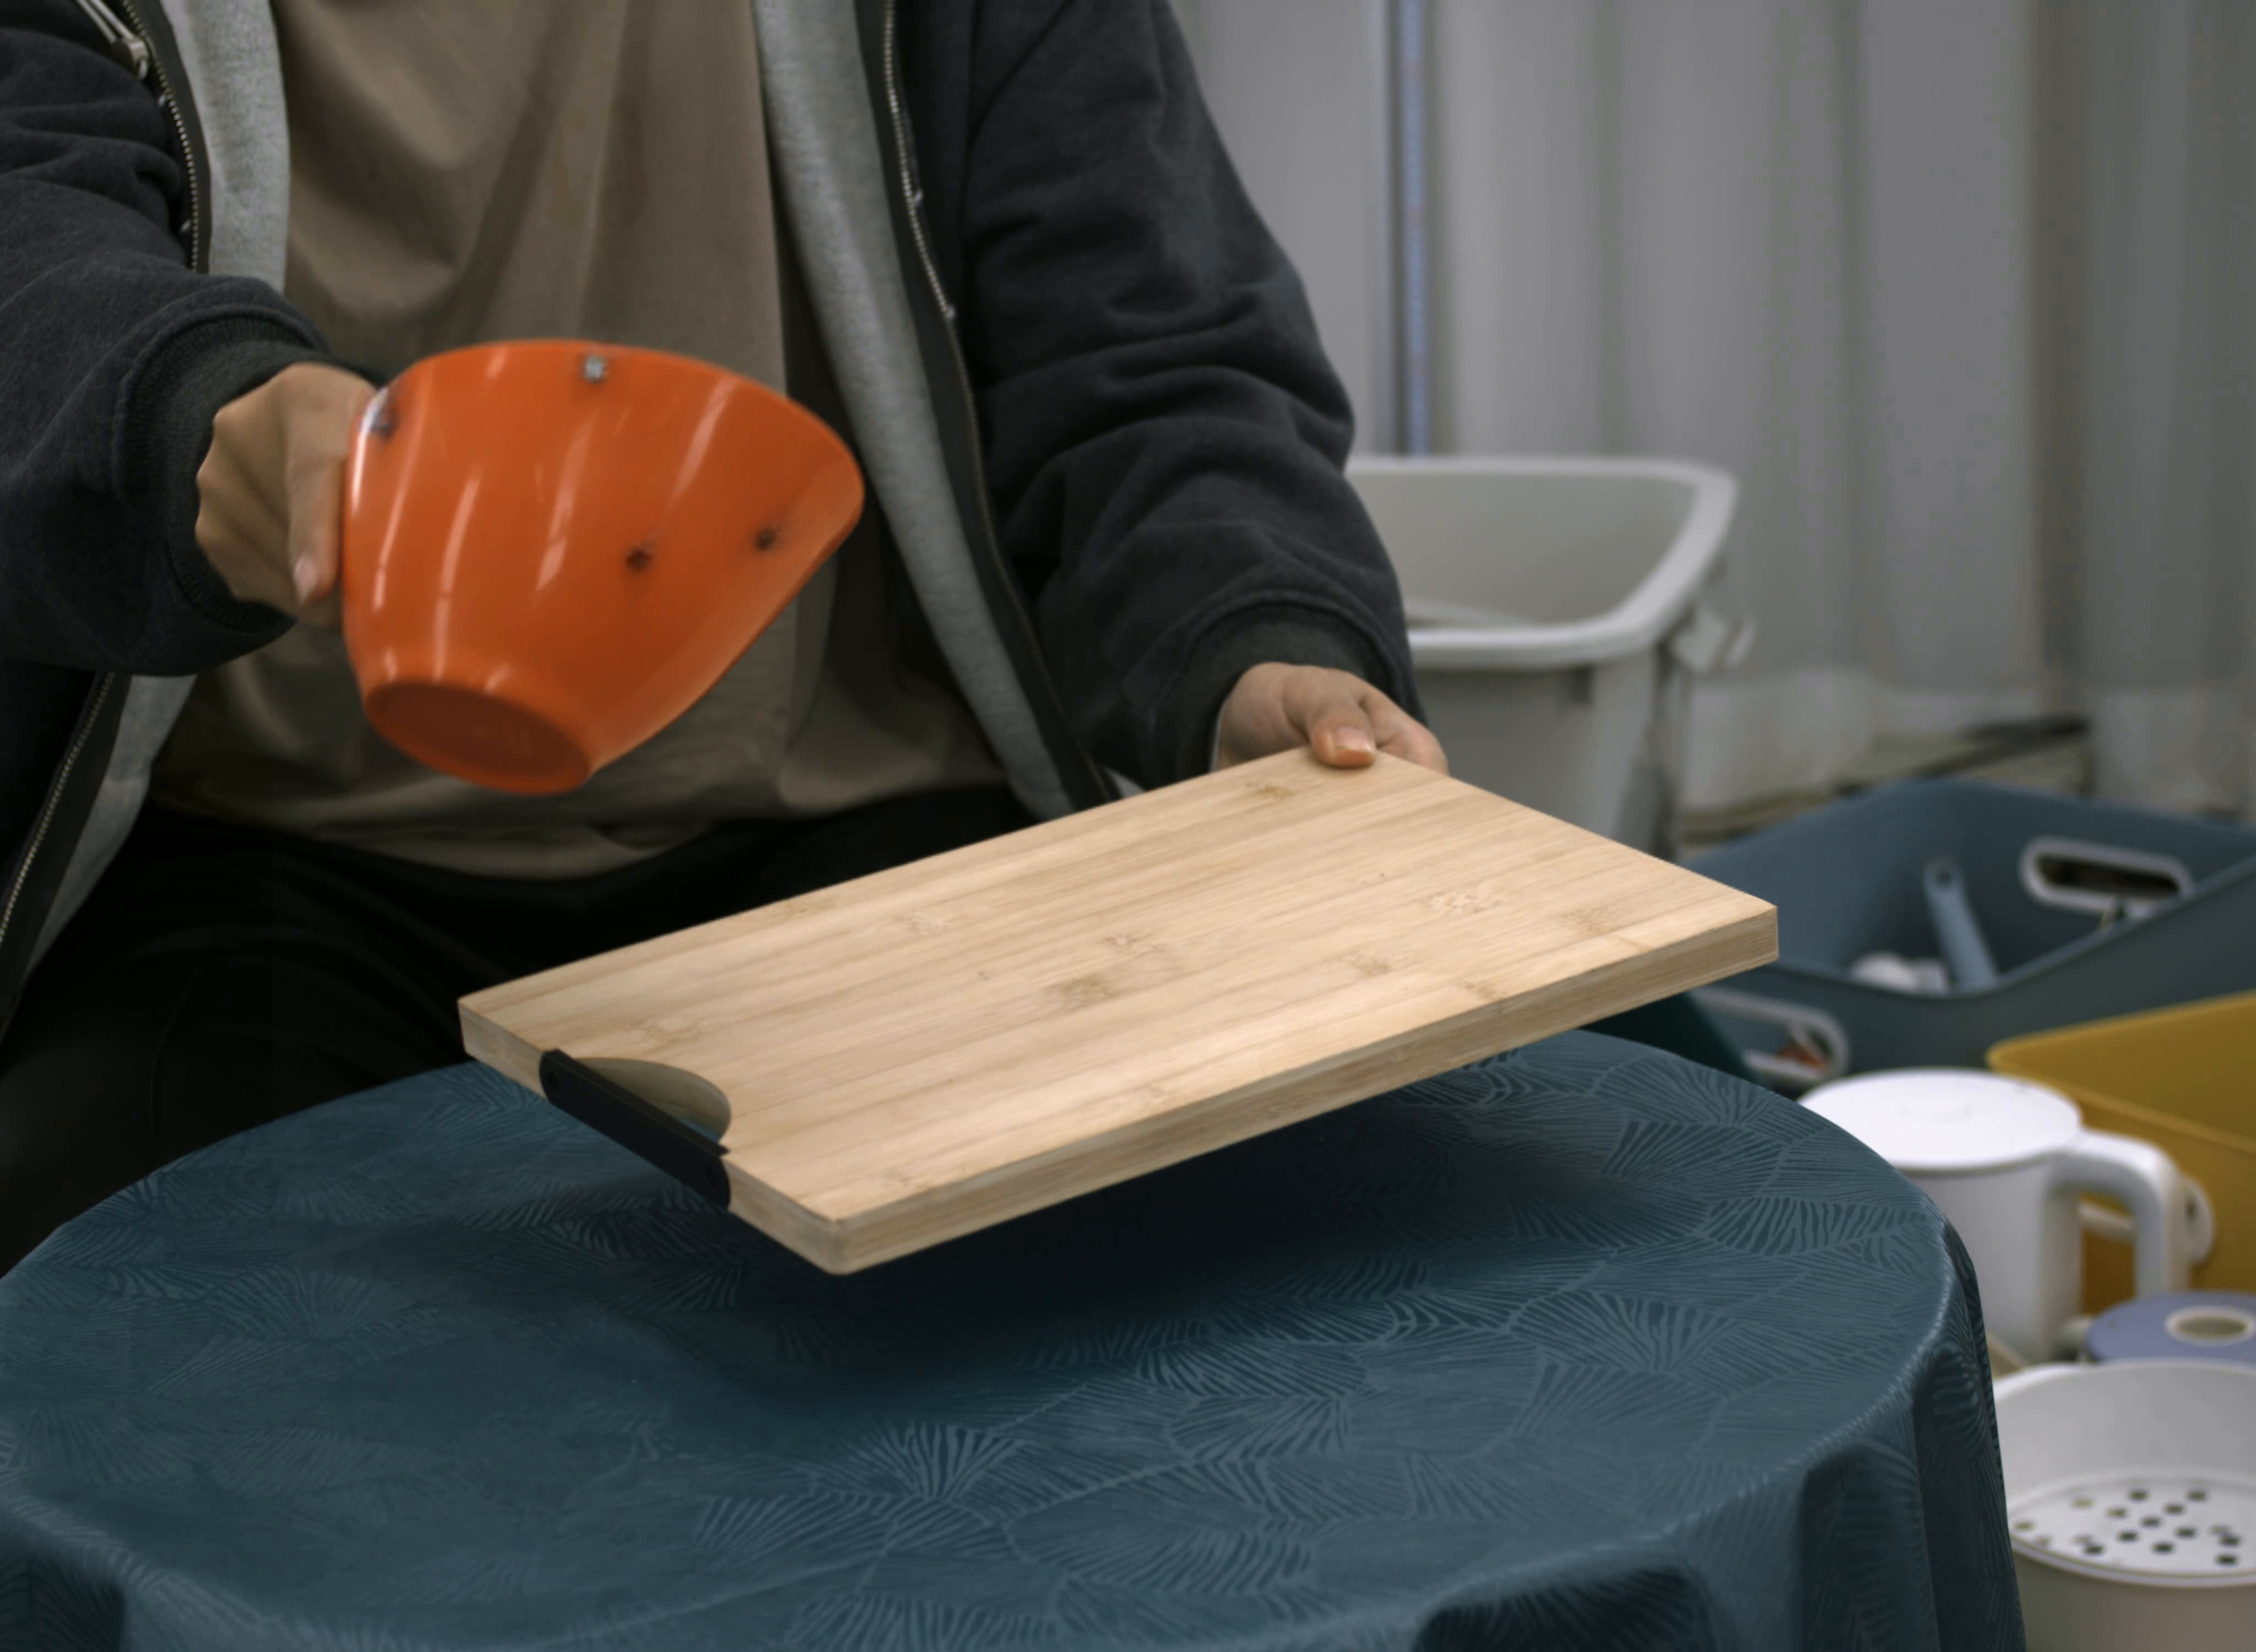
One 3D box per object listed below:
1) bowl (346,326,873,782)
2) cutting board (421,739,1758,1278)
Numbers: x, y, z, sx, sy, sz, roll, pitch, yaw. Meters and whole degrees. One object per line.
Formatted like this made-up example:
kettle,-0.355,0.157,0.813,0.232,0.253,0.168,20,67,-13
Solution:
bowl,-0.158,-0.071,1.561,0.148,0.106,0.146,14,-25,6
cutting board,-0.011,0.049,1.697,0.348,0.023,0.252,-17,21,-30
